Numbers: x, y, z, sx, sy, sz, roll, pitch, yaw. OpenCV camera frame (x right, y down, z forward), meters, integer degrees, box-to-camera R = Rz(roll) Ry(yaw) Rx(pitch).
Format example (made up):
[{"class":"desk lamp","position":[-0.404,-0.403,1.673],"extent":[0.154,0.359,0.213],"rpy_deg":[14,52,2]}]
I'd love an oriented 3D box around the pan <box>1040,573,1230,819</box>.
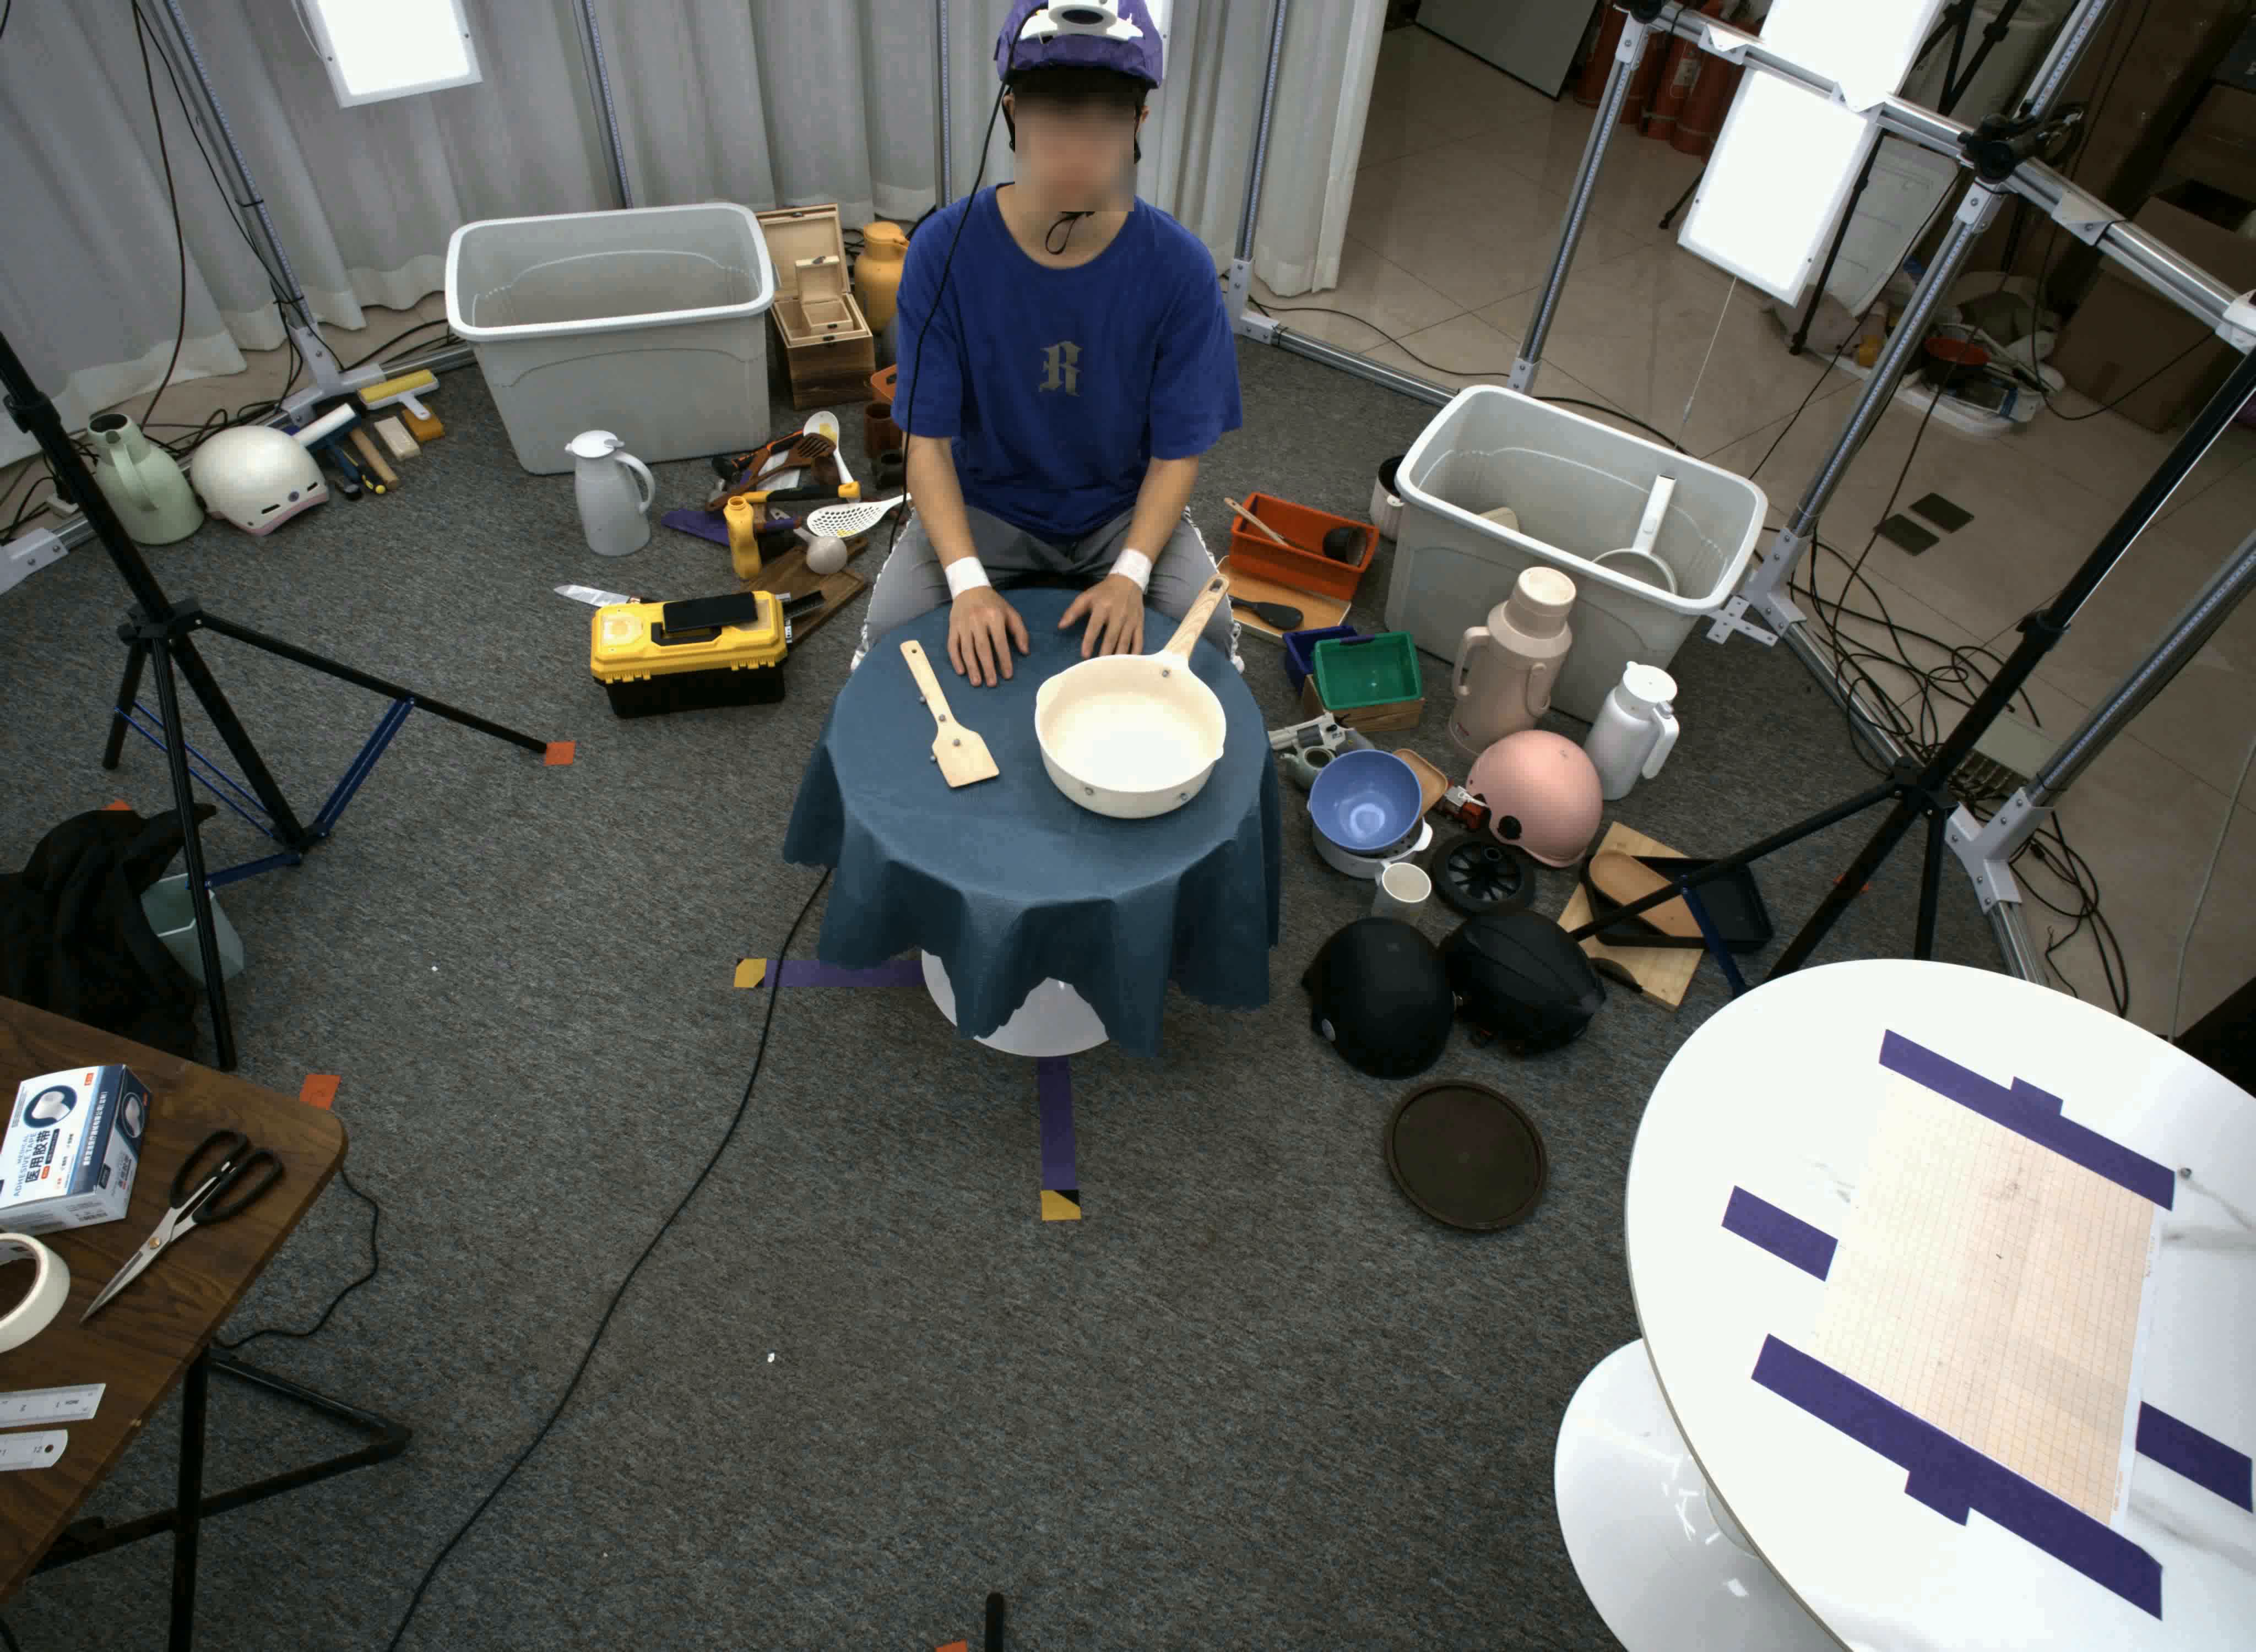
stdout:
[{"class":"pan","position":[0.045,-0.182,1.768],"extent":[0.265,0.099,0.443],"rpy_deg":[19,51,14]}]

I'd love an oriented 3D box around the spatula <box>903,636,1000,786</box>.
[{"class":"spatula","position":[-0.260,-0.167,1.794],"extent":[0.072,0.010,0.300],"rpy_deg":[-17,53,-16]}]
